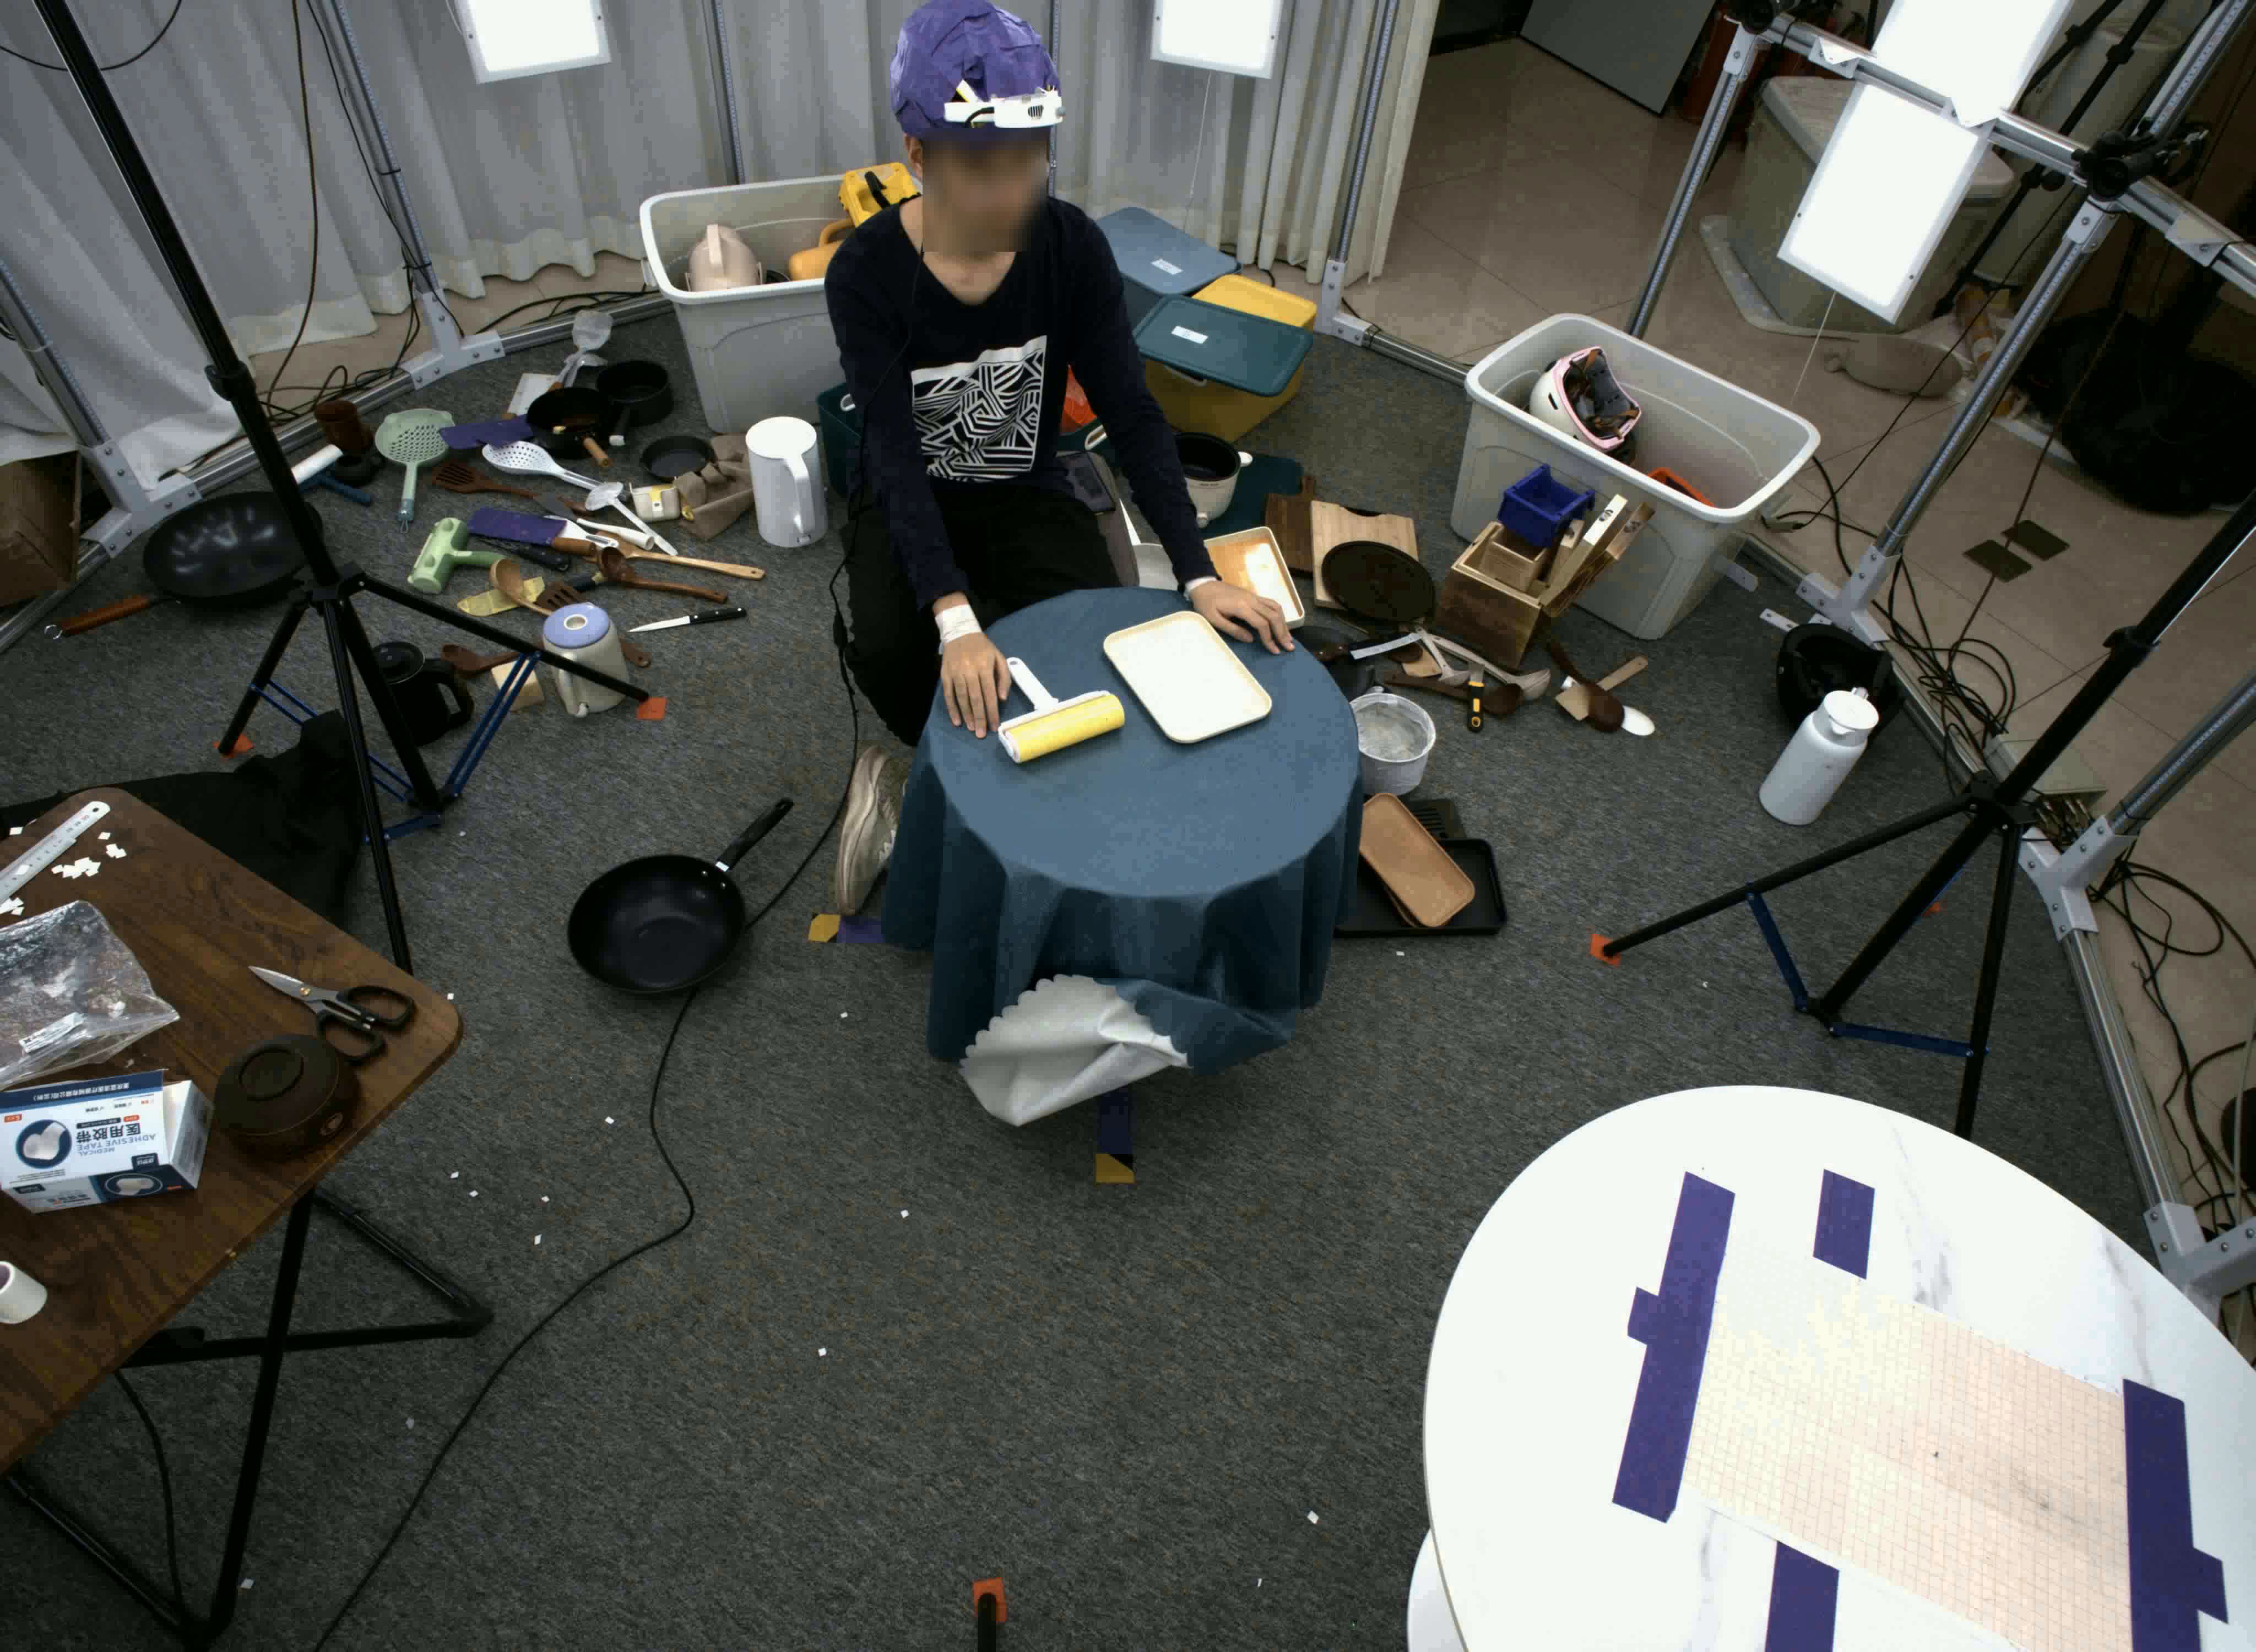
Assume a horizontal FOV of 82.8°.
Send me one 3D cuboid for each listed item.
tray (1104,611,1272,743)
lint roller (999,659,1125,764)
[{"bbox_3d":[0.084,-0.216,1.849,0.171,0.017,0.245,-20,53,-20],"label":"tray"},{"bbox_3d":[-0.122,-0.182,1.785,0.175,0.050,0.196,-22,56,-22],"label":"lint roller"}]
